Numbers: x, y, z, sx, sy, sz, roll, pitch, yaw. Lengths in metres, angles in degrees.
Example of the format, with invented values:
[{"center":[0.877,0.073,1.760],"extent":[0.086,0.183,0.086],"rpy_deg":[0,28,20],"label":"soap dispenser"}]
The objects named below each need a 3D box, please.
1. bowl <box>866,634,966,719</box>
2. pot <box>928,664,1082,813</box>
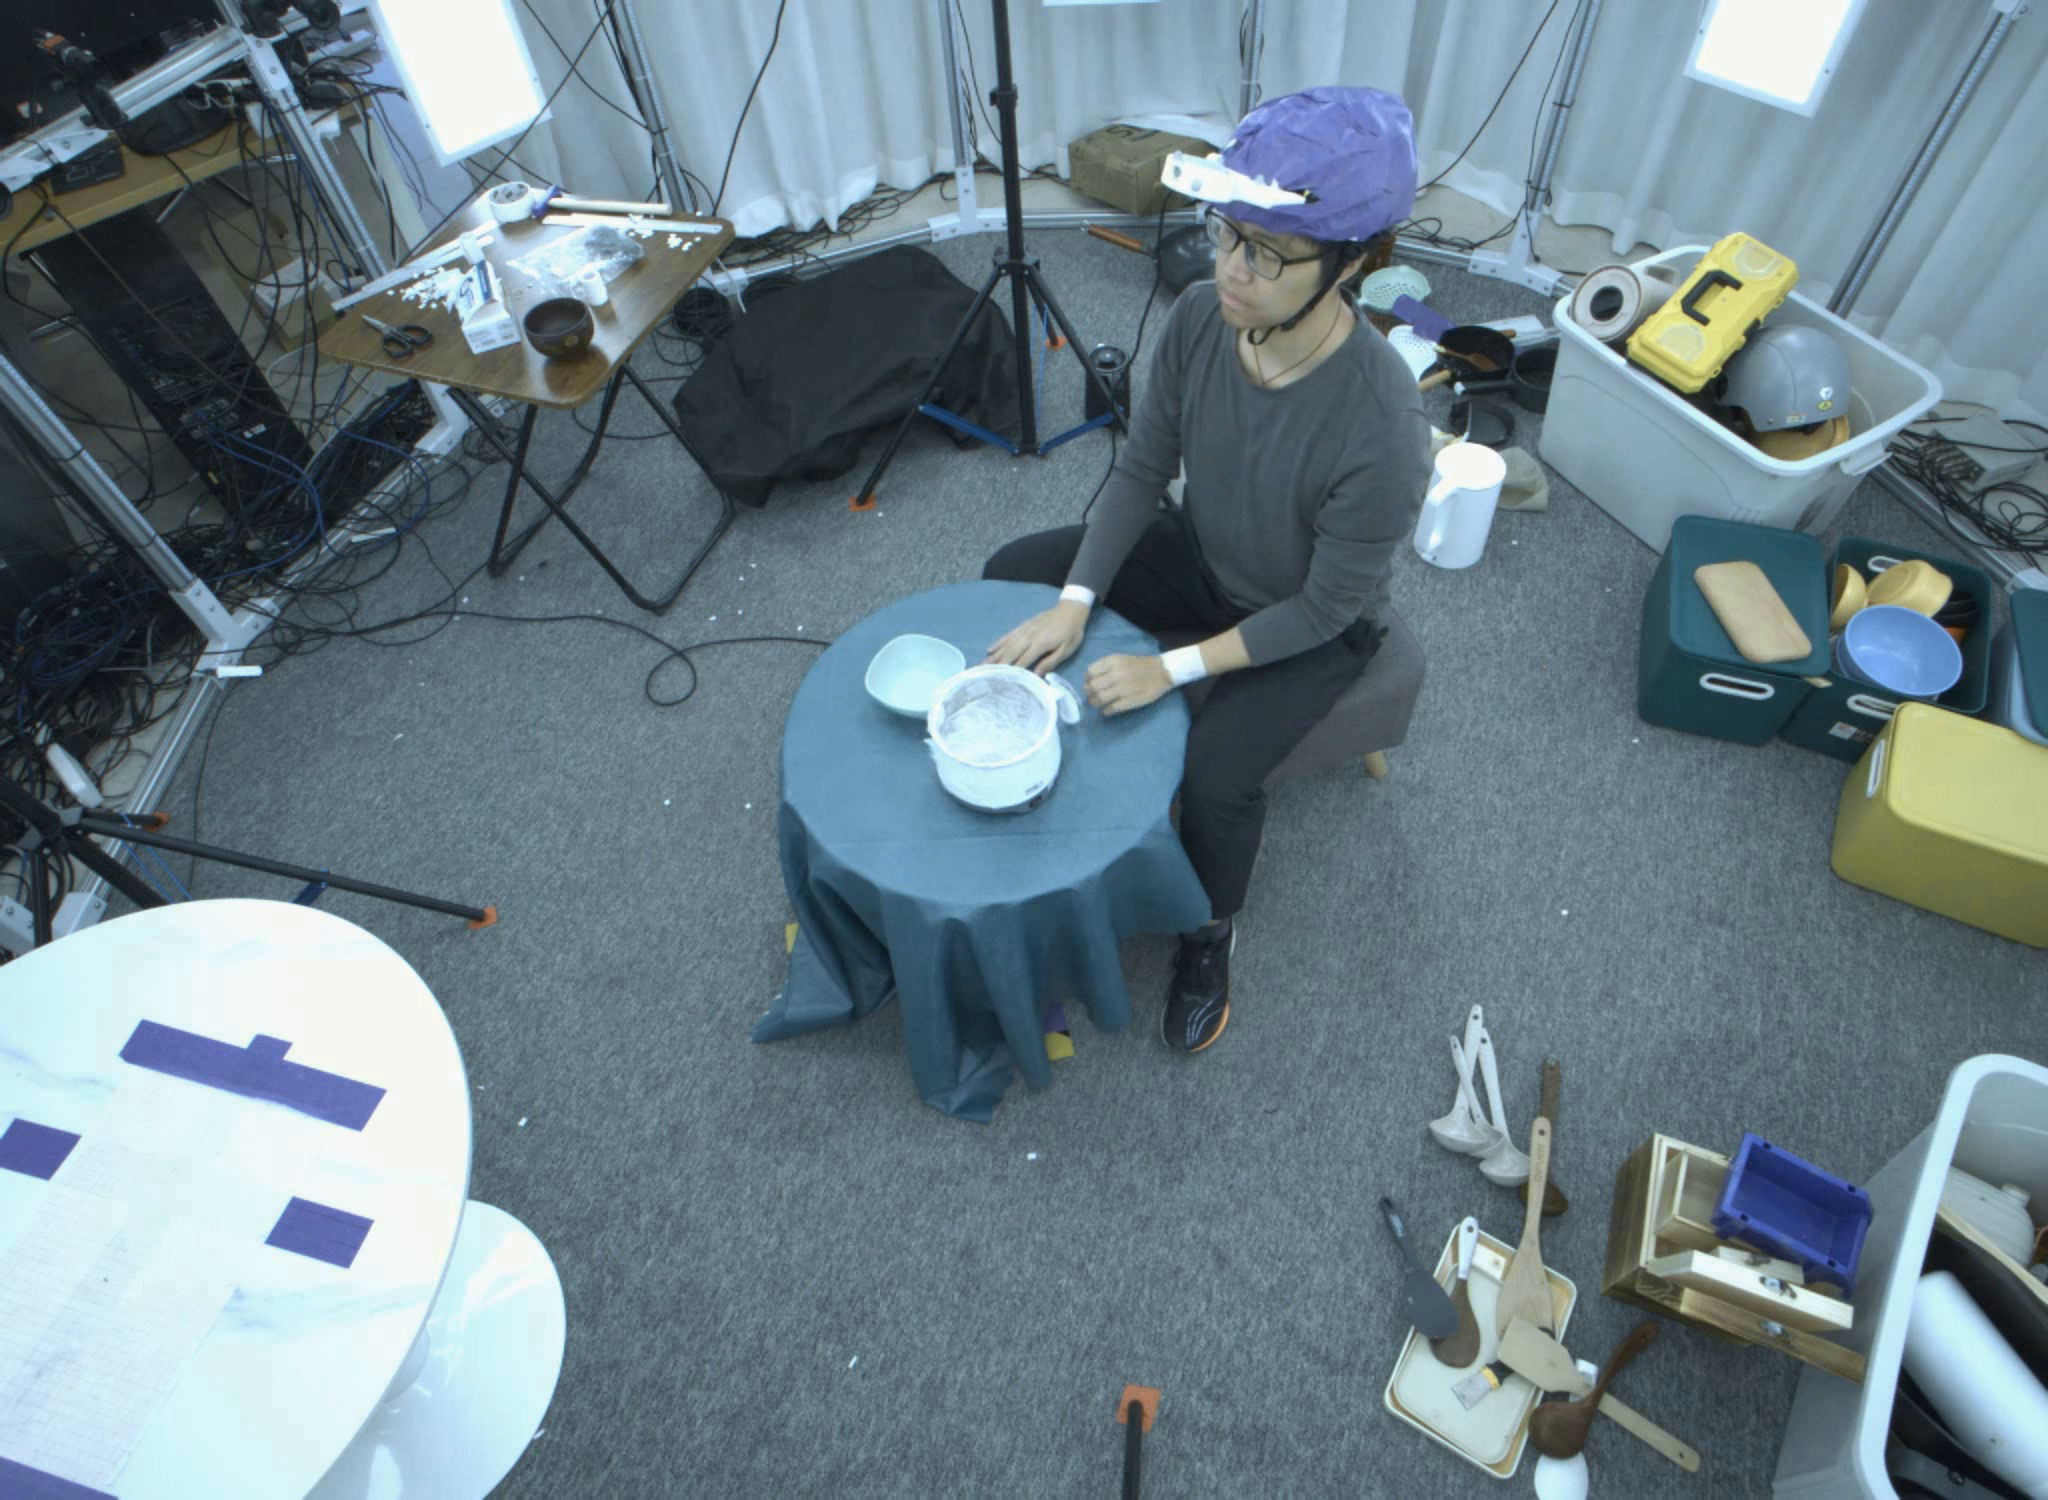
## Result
[{"center":[-0.158,-0.101,1.836],"extent":[0.151,0.059,0.150],"rpy_deg":[-1,56,2],"label":"bowl"},{"center":[-0.018,-0.027,1.730],"extent":[0.235,0.138,0.175],"rpy_deg":[-33,60,-21],"label":"pot"}]
